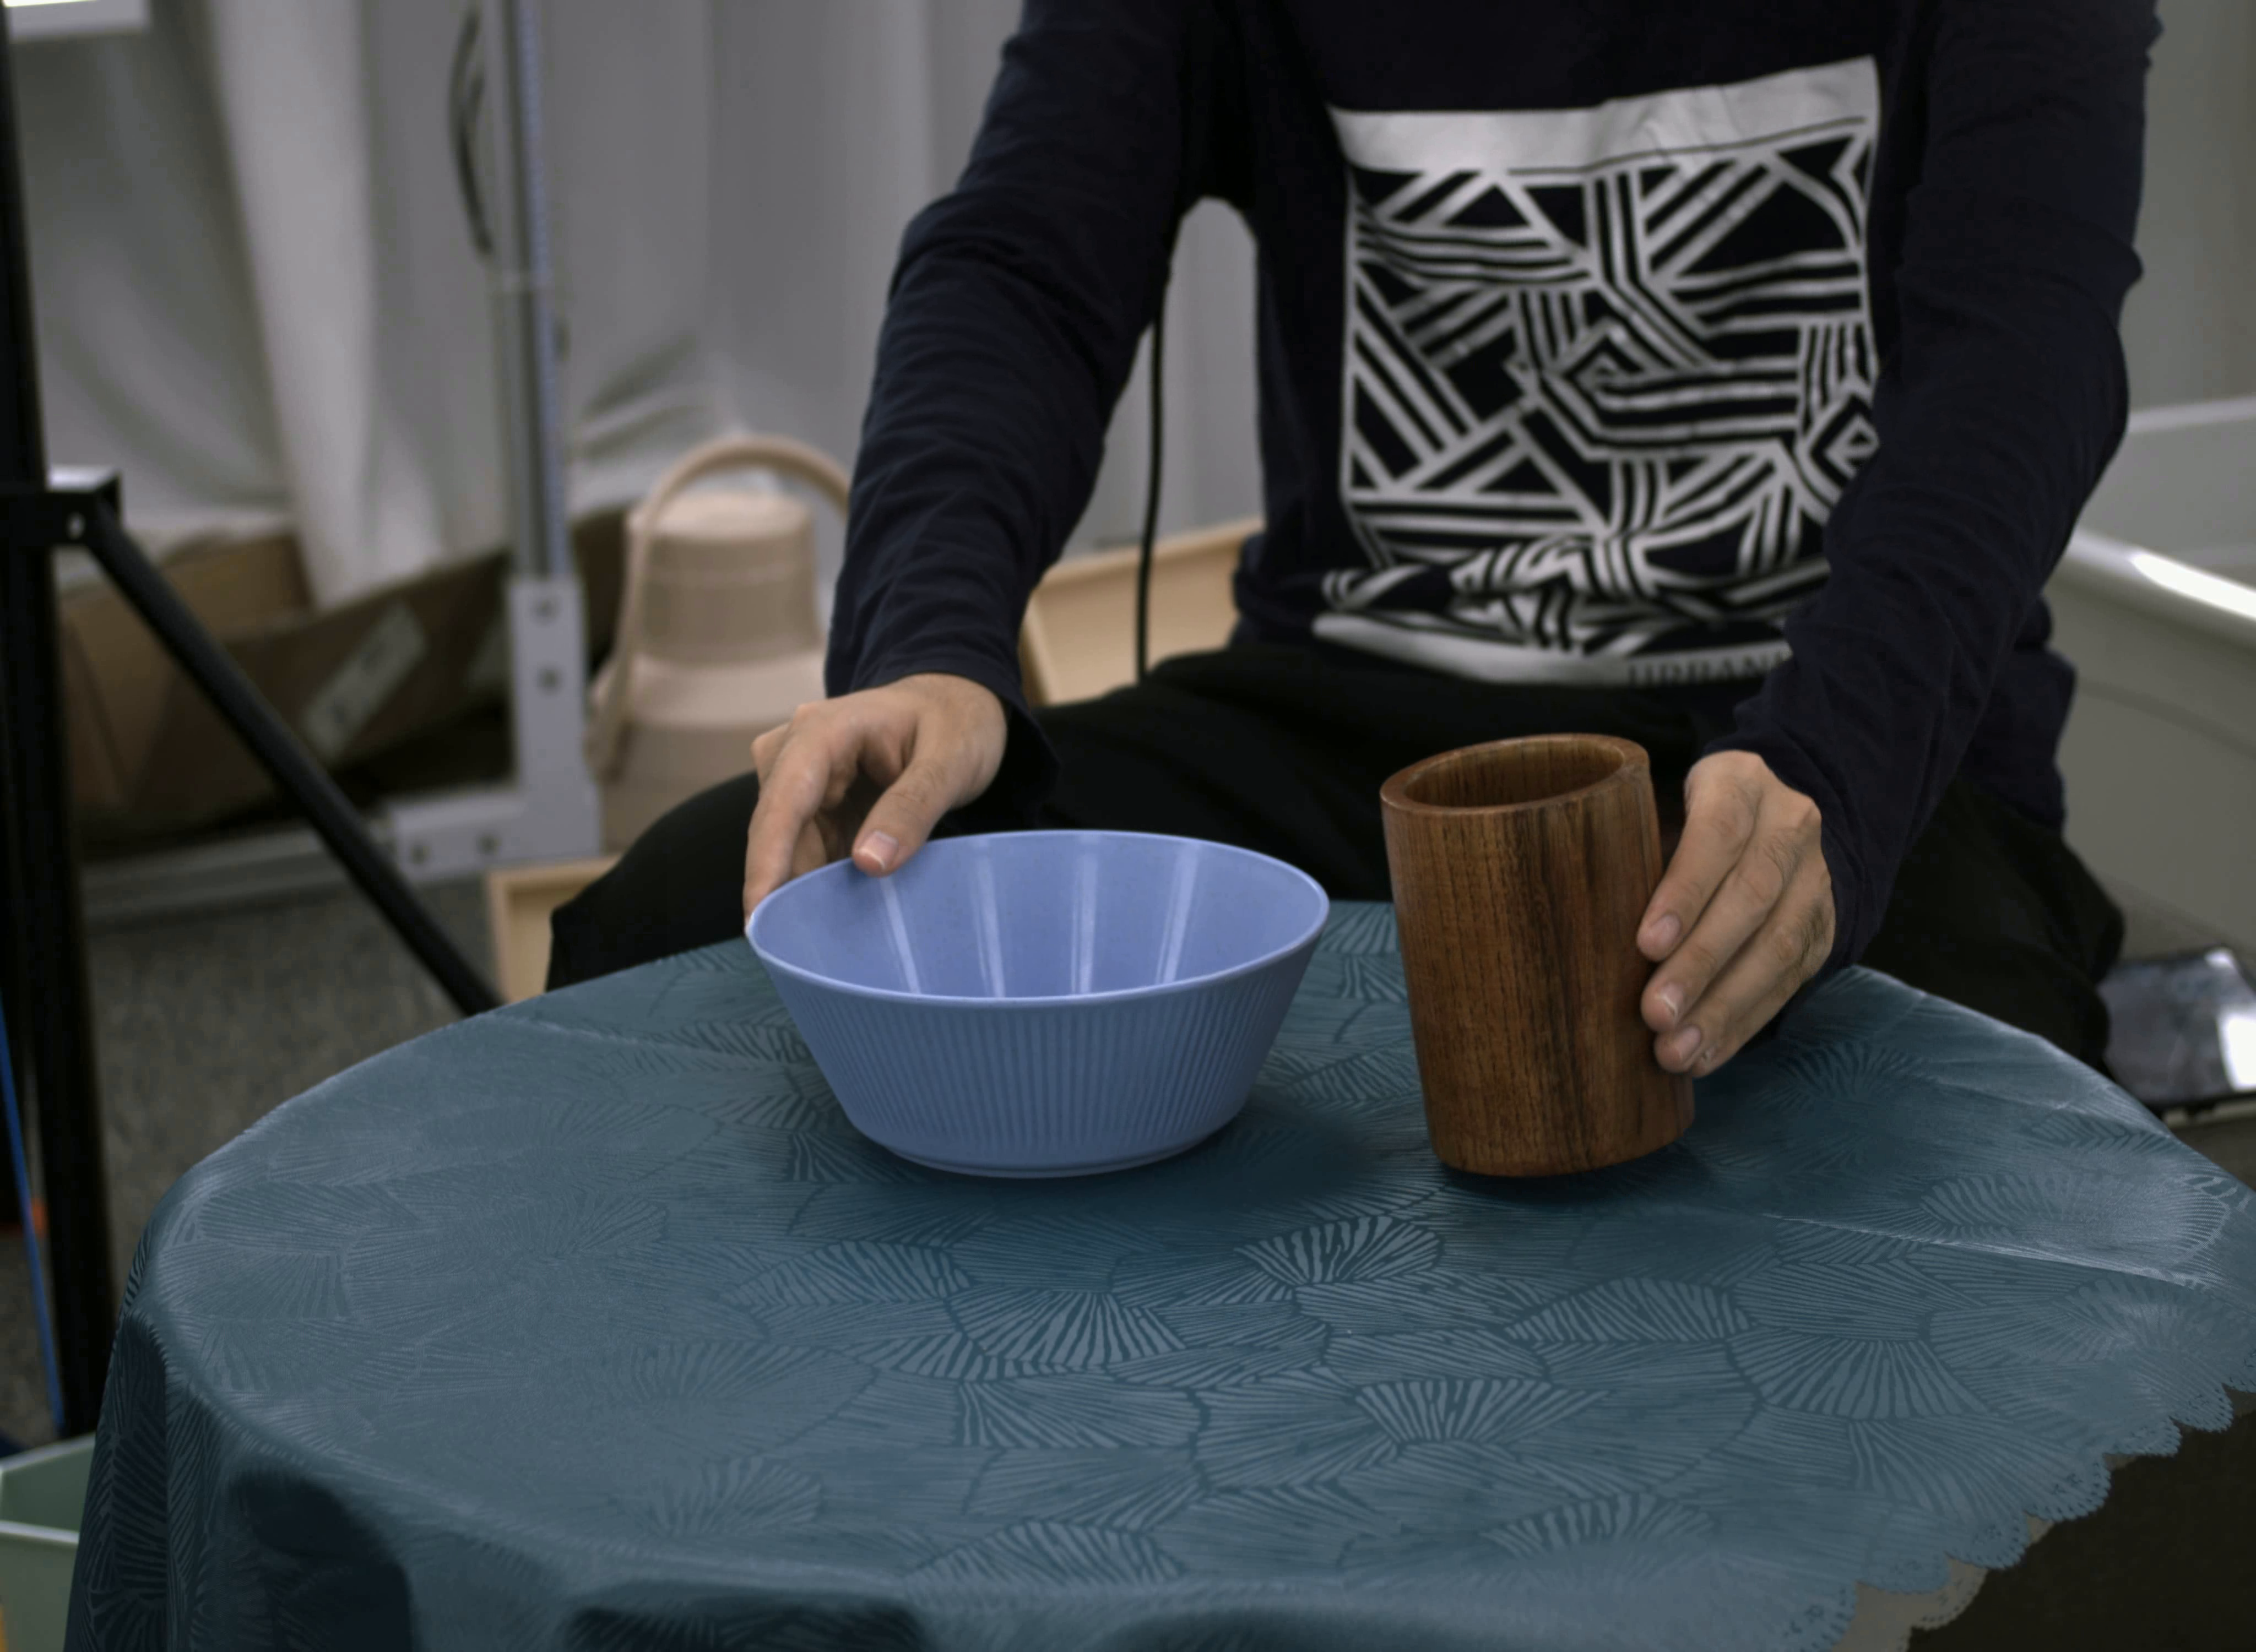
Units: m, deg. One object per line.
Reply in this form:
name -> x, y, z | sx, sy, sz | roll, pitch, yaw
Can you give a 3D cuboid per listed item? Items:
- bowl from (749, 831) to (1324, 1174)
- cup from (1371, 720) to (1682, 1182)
bowl -> -0.027, 0.056, 1.619 | 0.175, 0.070, 0.177 | -2, 15, -1
cup -> 0.117, 0.036, 1.549 | 0.087, 0.118, 0.088 | -6, 13, 0
